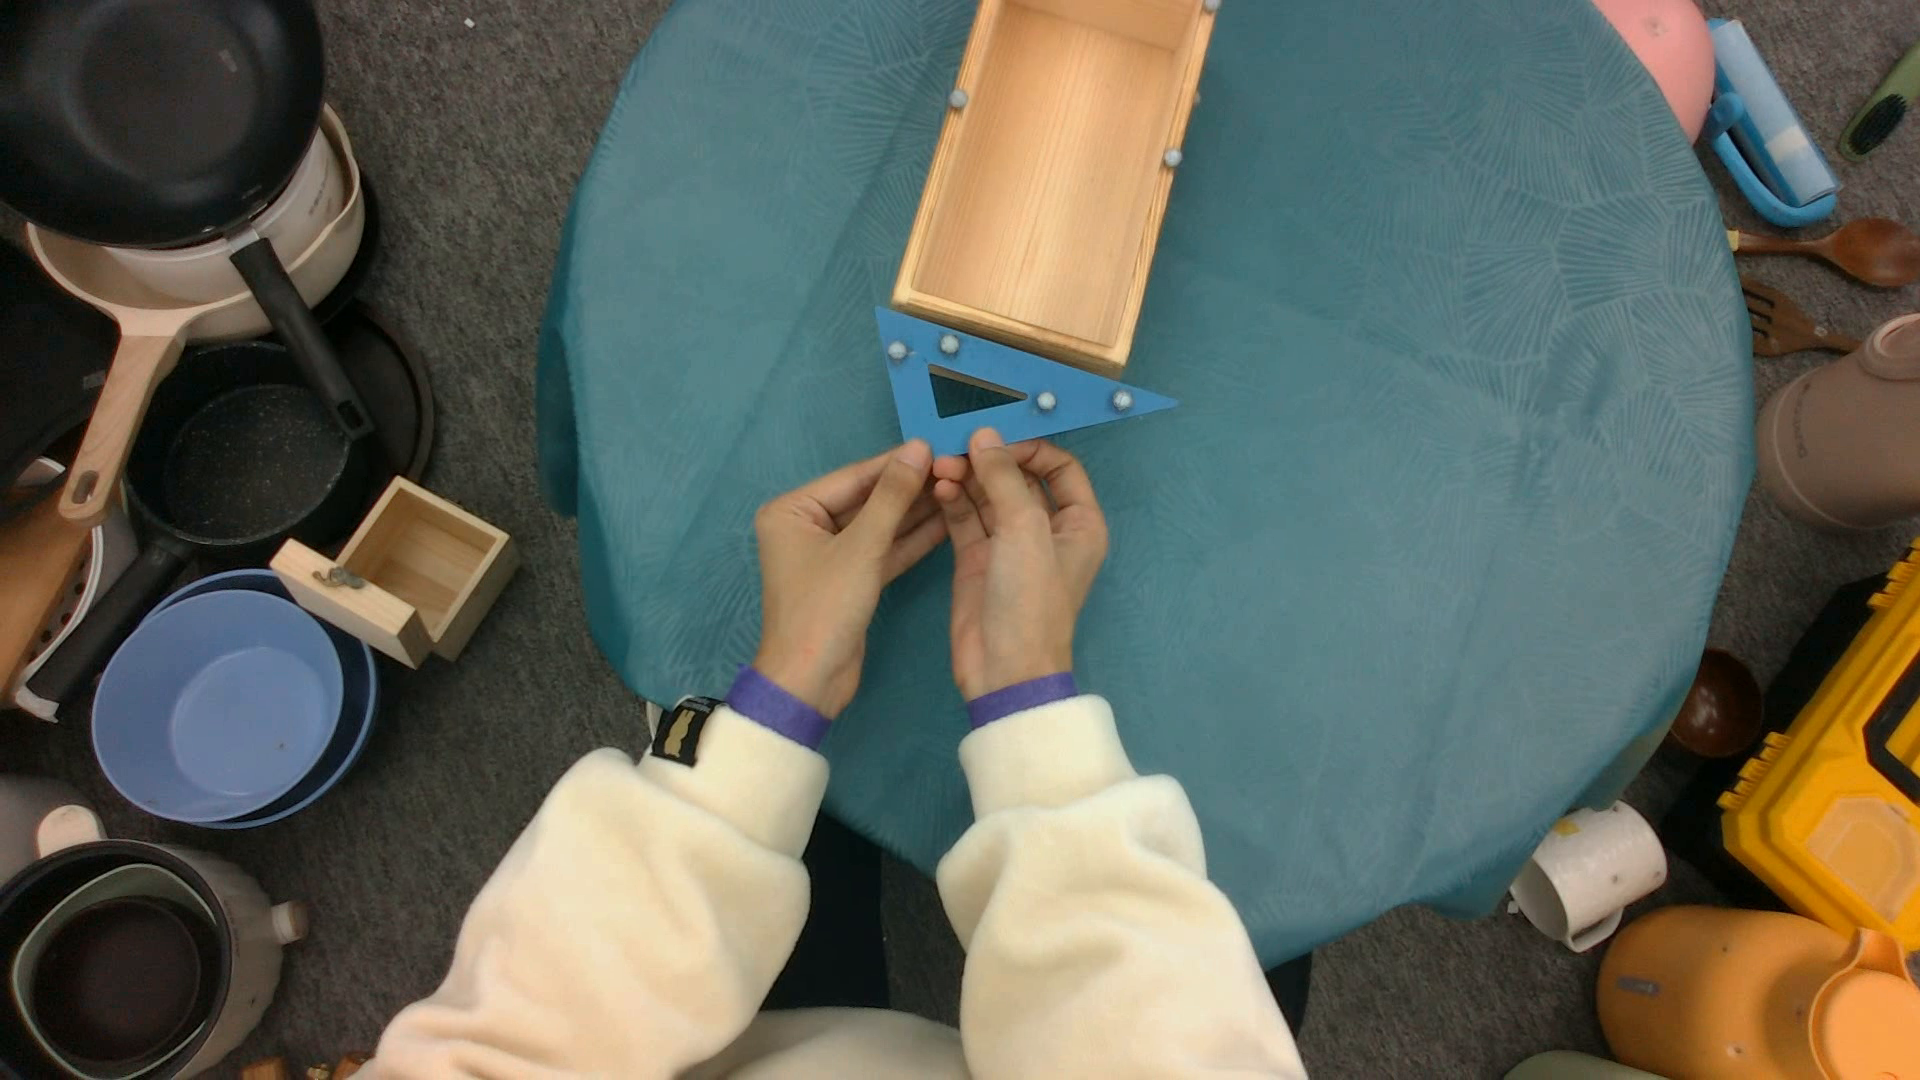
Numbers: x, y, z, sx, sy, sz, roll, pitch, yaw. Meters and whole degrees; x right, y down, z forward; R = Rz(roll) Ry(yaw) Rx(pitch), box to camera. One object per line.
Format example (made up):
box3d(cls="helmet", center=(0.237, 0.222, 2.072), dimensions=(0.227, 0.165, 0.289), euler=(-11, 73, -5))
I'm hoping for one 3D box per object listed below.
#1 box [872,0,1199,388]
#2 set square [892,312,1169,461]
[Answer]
box3d(cls="box", center=(0.038, -0.184, 0.653), dimensions=(0.107, 0.080, 0.212), euler=(15, 76, -2))
box3d(cls="set square", center=(0.022, -0.049, 0.593), dimensions=(0.132, 0.006, 0.061), euler=(22, 87, -3))
